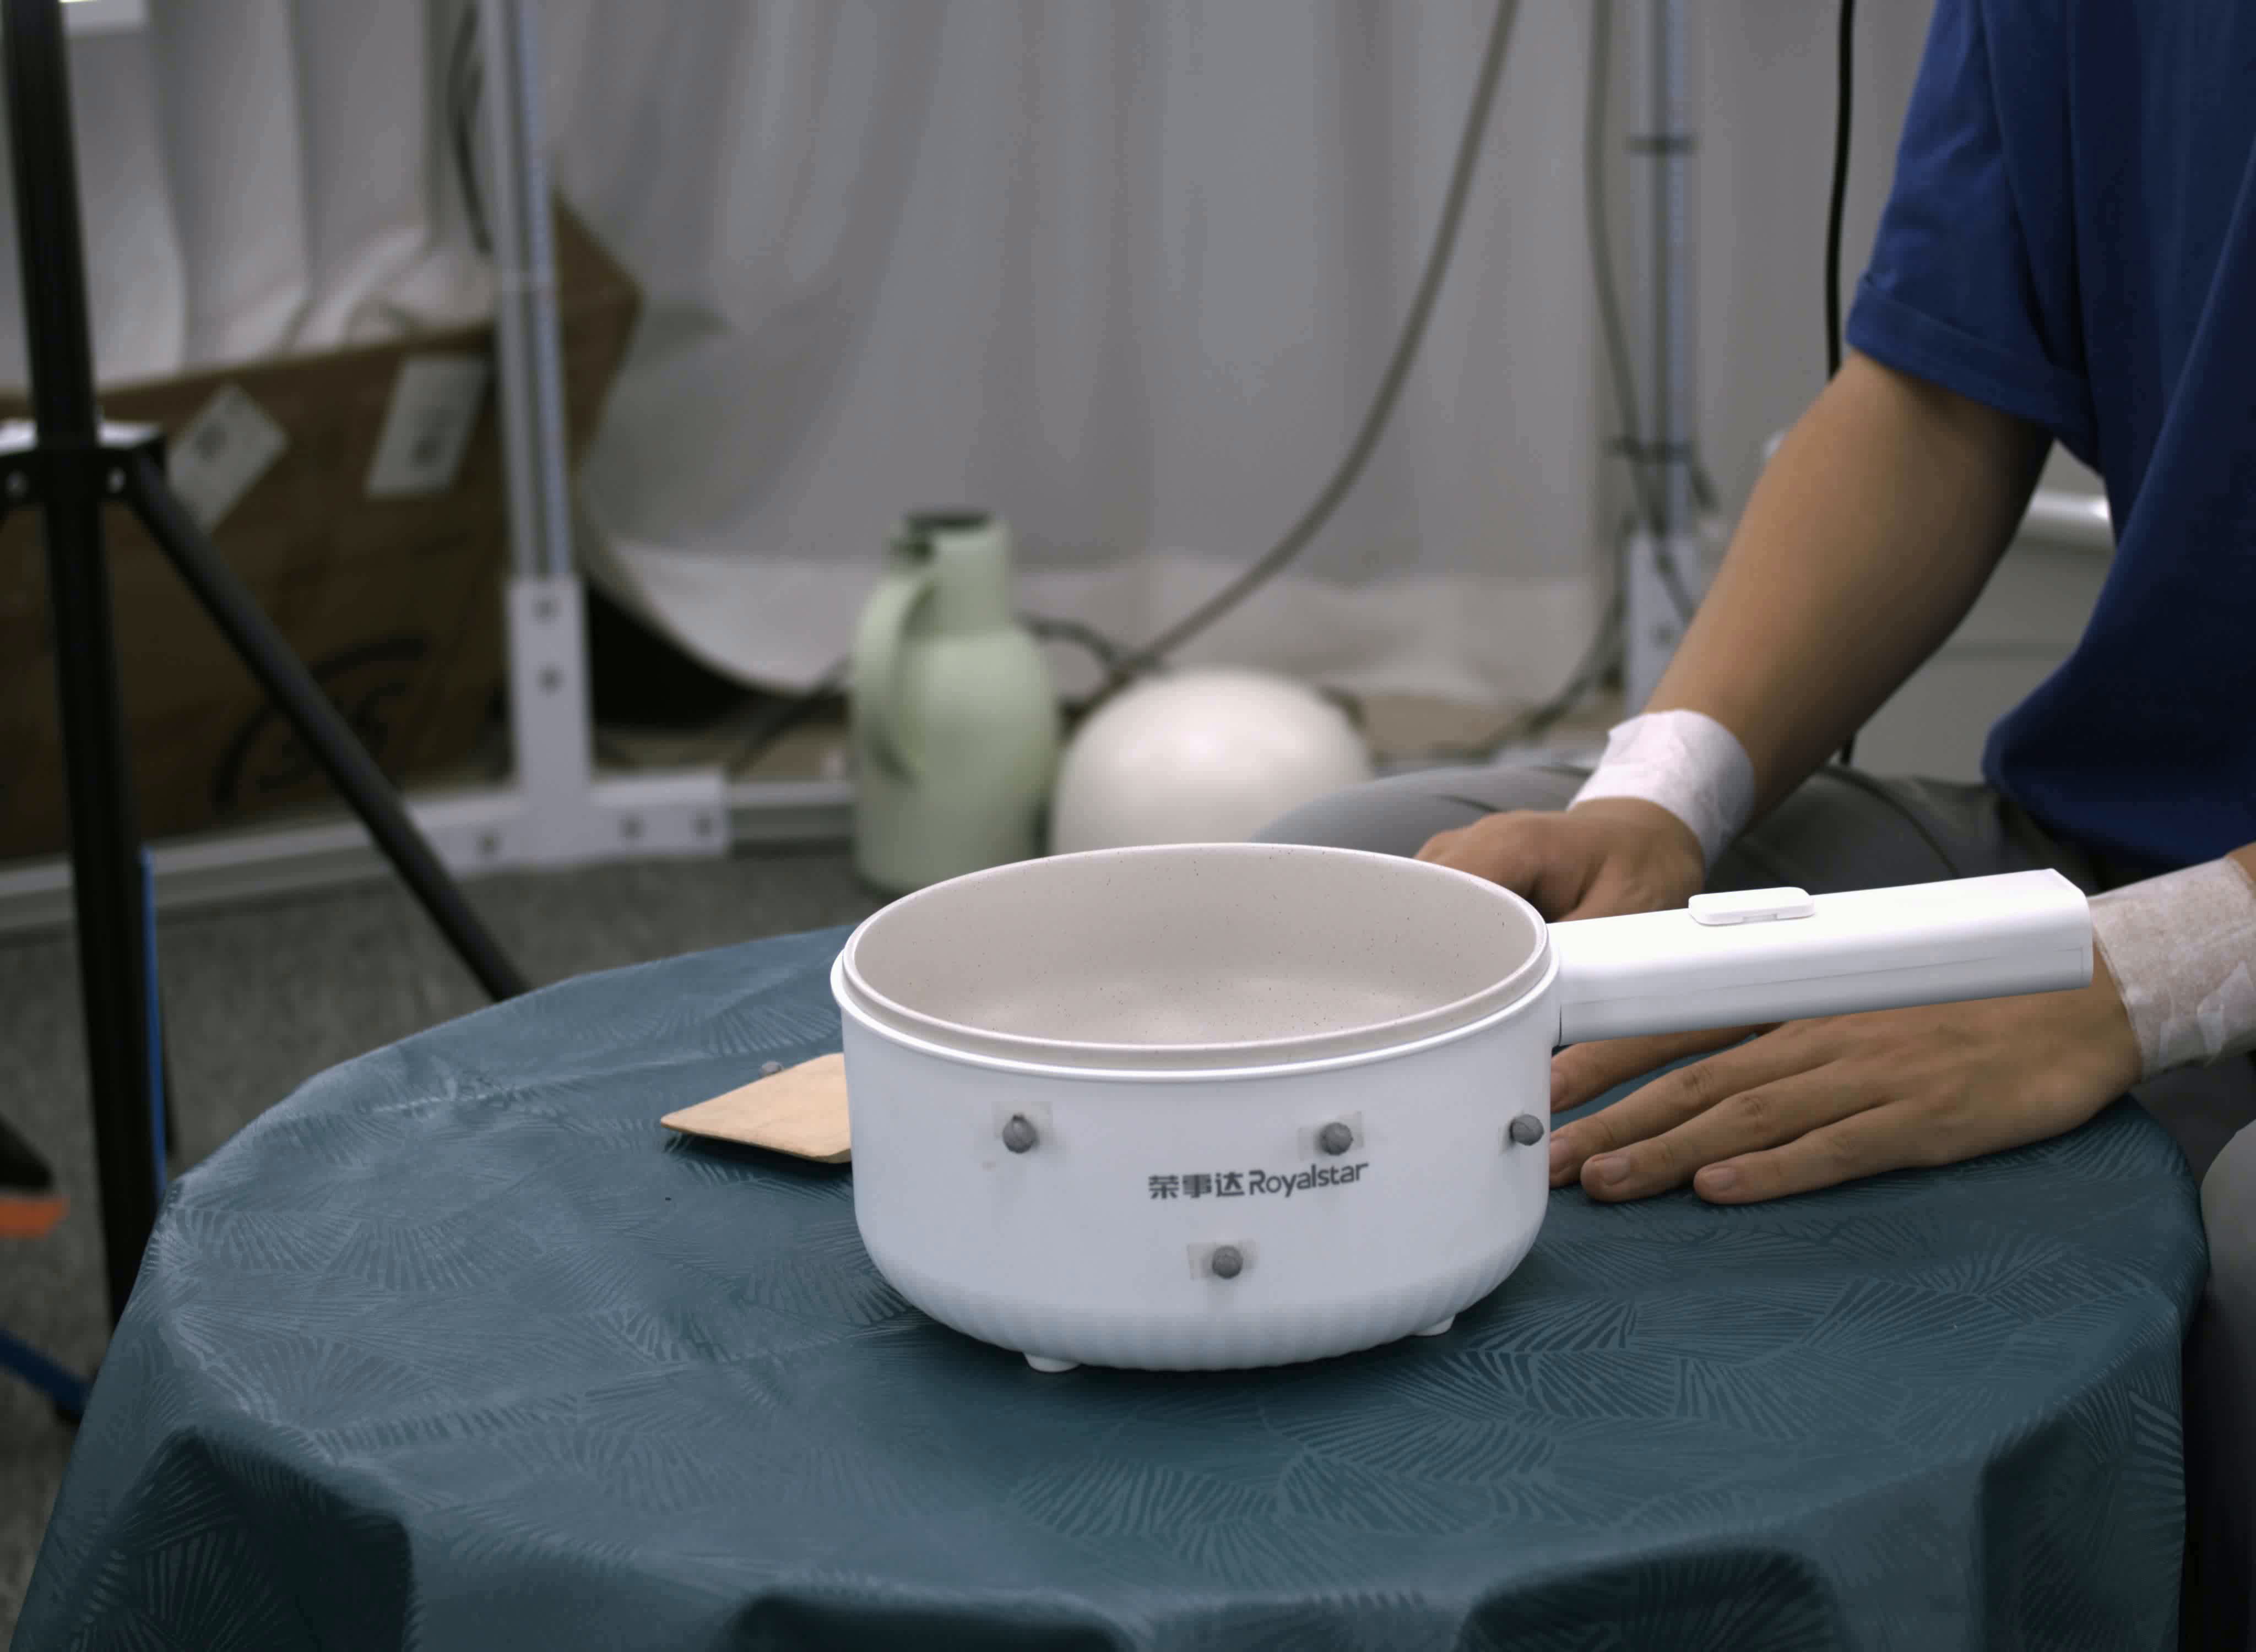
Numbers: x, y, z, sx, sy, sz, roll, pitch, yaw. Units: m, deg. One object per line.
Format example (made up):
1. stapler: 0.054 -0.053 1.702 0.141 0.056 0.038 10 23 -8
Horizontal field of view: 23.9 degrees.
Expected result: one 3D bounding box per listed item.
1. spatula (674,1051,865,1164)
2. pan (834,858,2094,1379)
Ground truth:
1. spatula: -0.029 0.062 1.708 0.074 0.010 0.287 8 19 36
2. pan: 0.096 0.076 1.481 0.351 0.102 0.203 -5 14 -8
